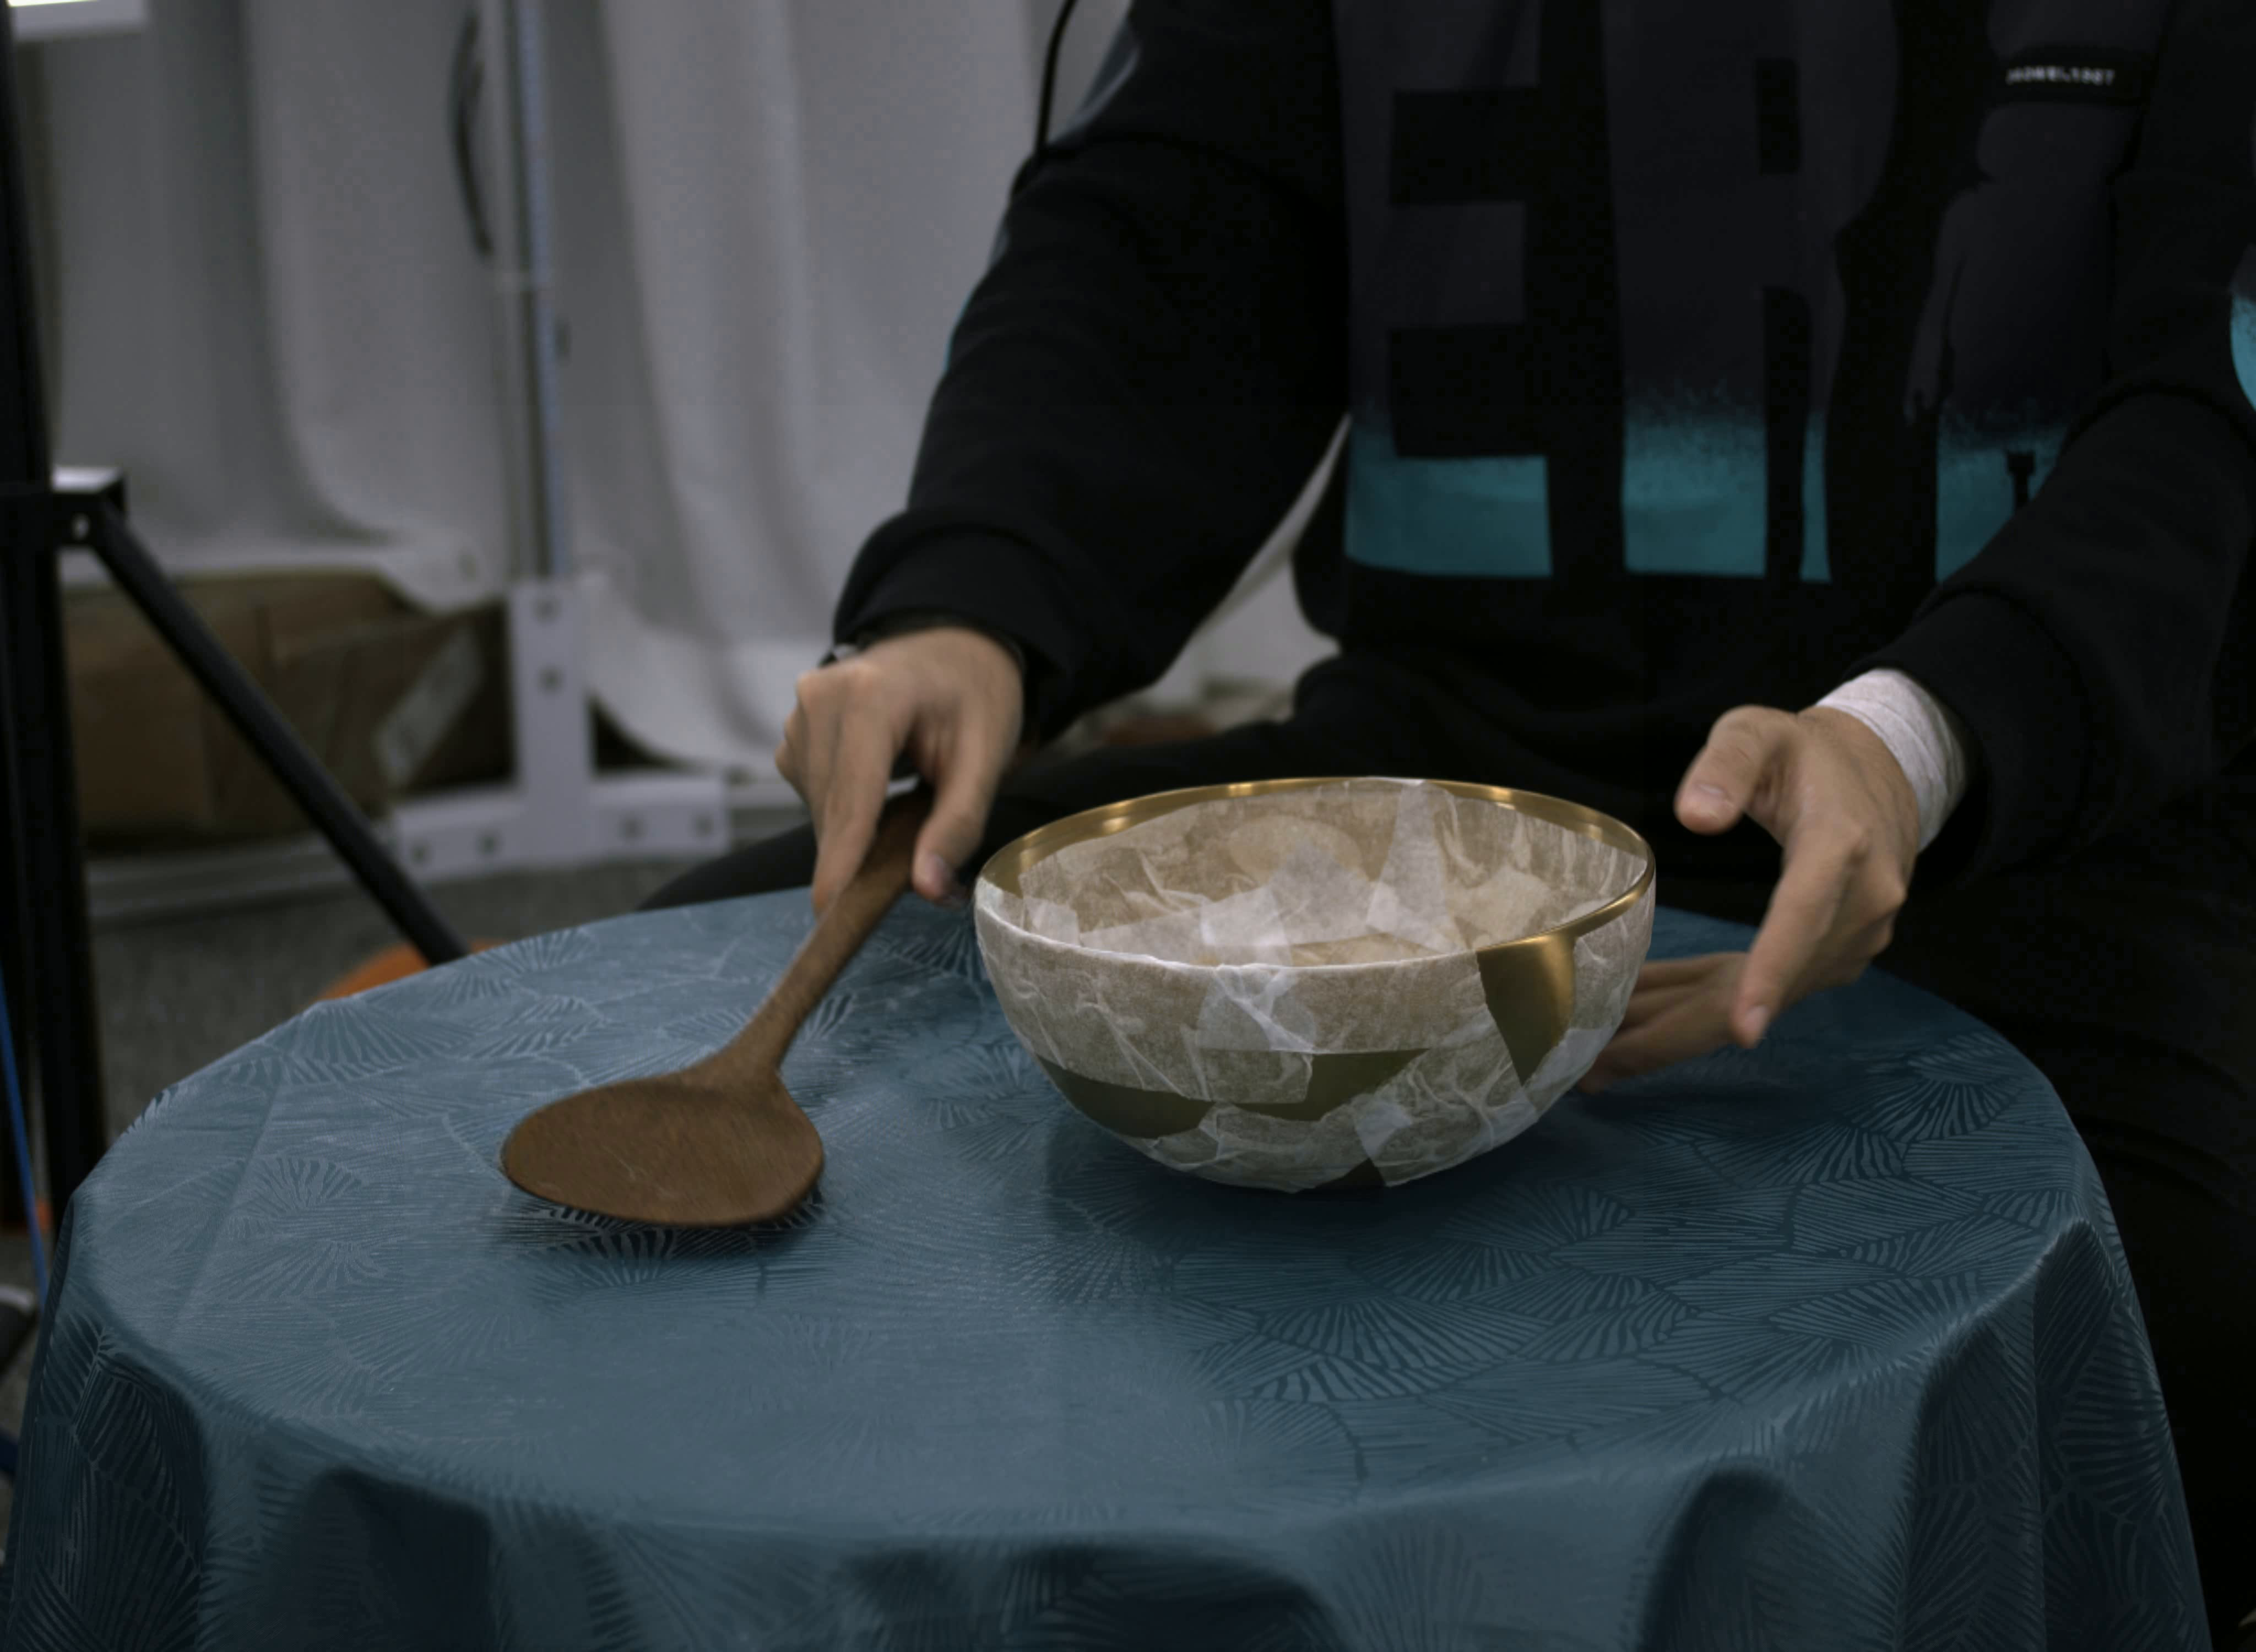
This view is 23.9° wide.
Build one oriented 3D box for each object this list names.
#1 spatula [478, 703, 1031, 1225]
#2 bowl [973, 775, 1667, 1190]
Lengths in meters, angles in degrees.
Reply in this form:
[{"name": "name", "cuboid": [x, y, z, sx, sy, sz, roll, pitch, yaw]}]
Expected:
[{"name": "spatula", "cuboid": [-0.097, 0.035, 1.693, 0.097, 0.016, 0.383, 7, 26, 15]}, {"name": "bowl", "cuboid": [0.060, 0.053, 1.569, 0.213, 0.094, 0.216, -4, 14, 0]}]
